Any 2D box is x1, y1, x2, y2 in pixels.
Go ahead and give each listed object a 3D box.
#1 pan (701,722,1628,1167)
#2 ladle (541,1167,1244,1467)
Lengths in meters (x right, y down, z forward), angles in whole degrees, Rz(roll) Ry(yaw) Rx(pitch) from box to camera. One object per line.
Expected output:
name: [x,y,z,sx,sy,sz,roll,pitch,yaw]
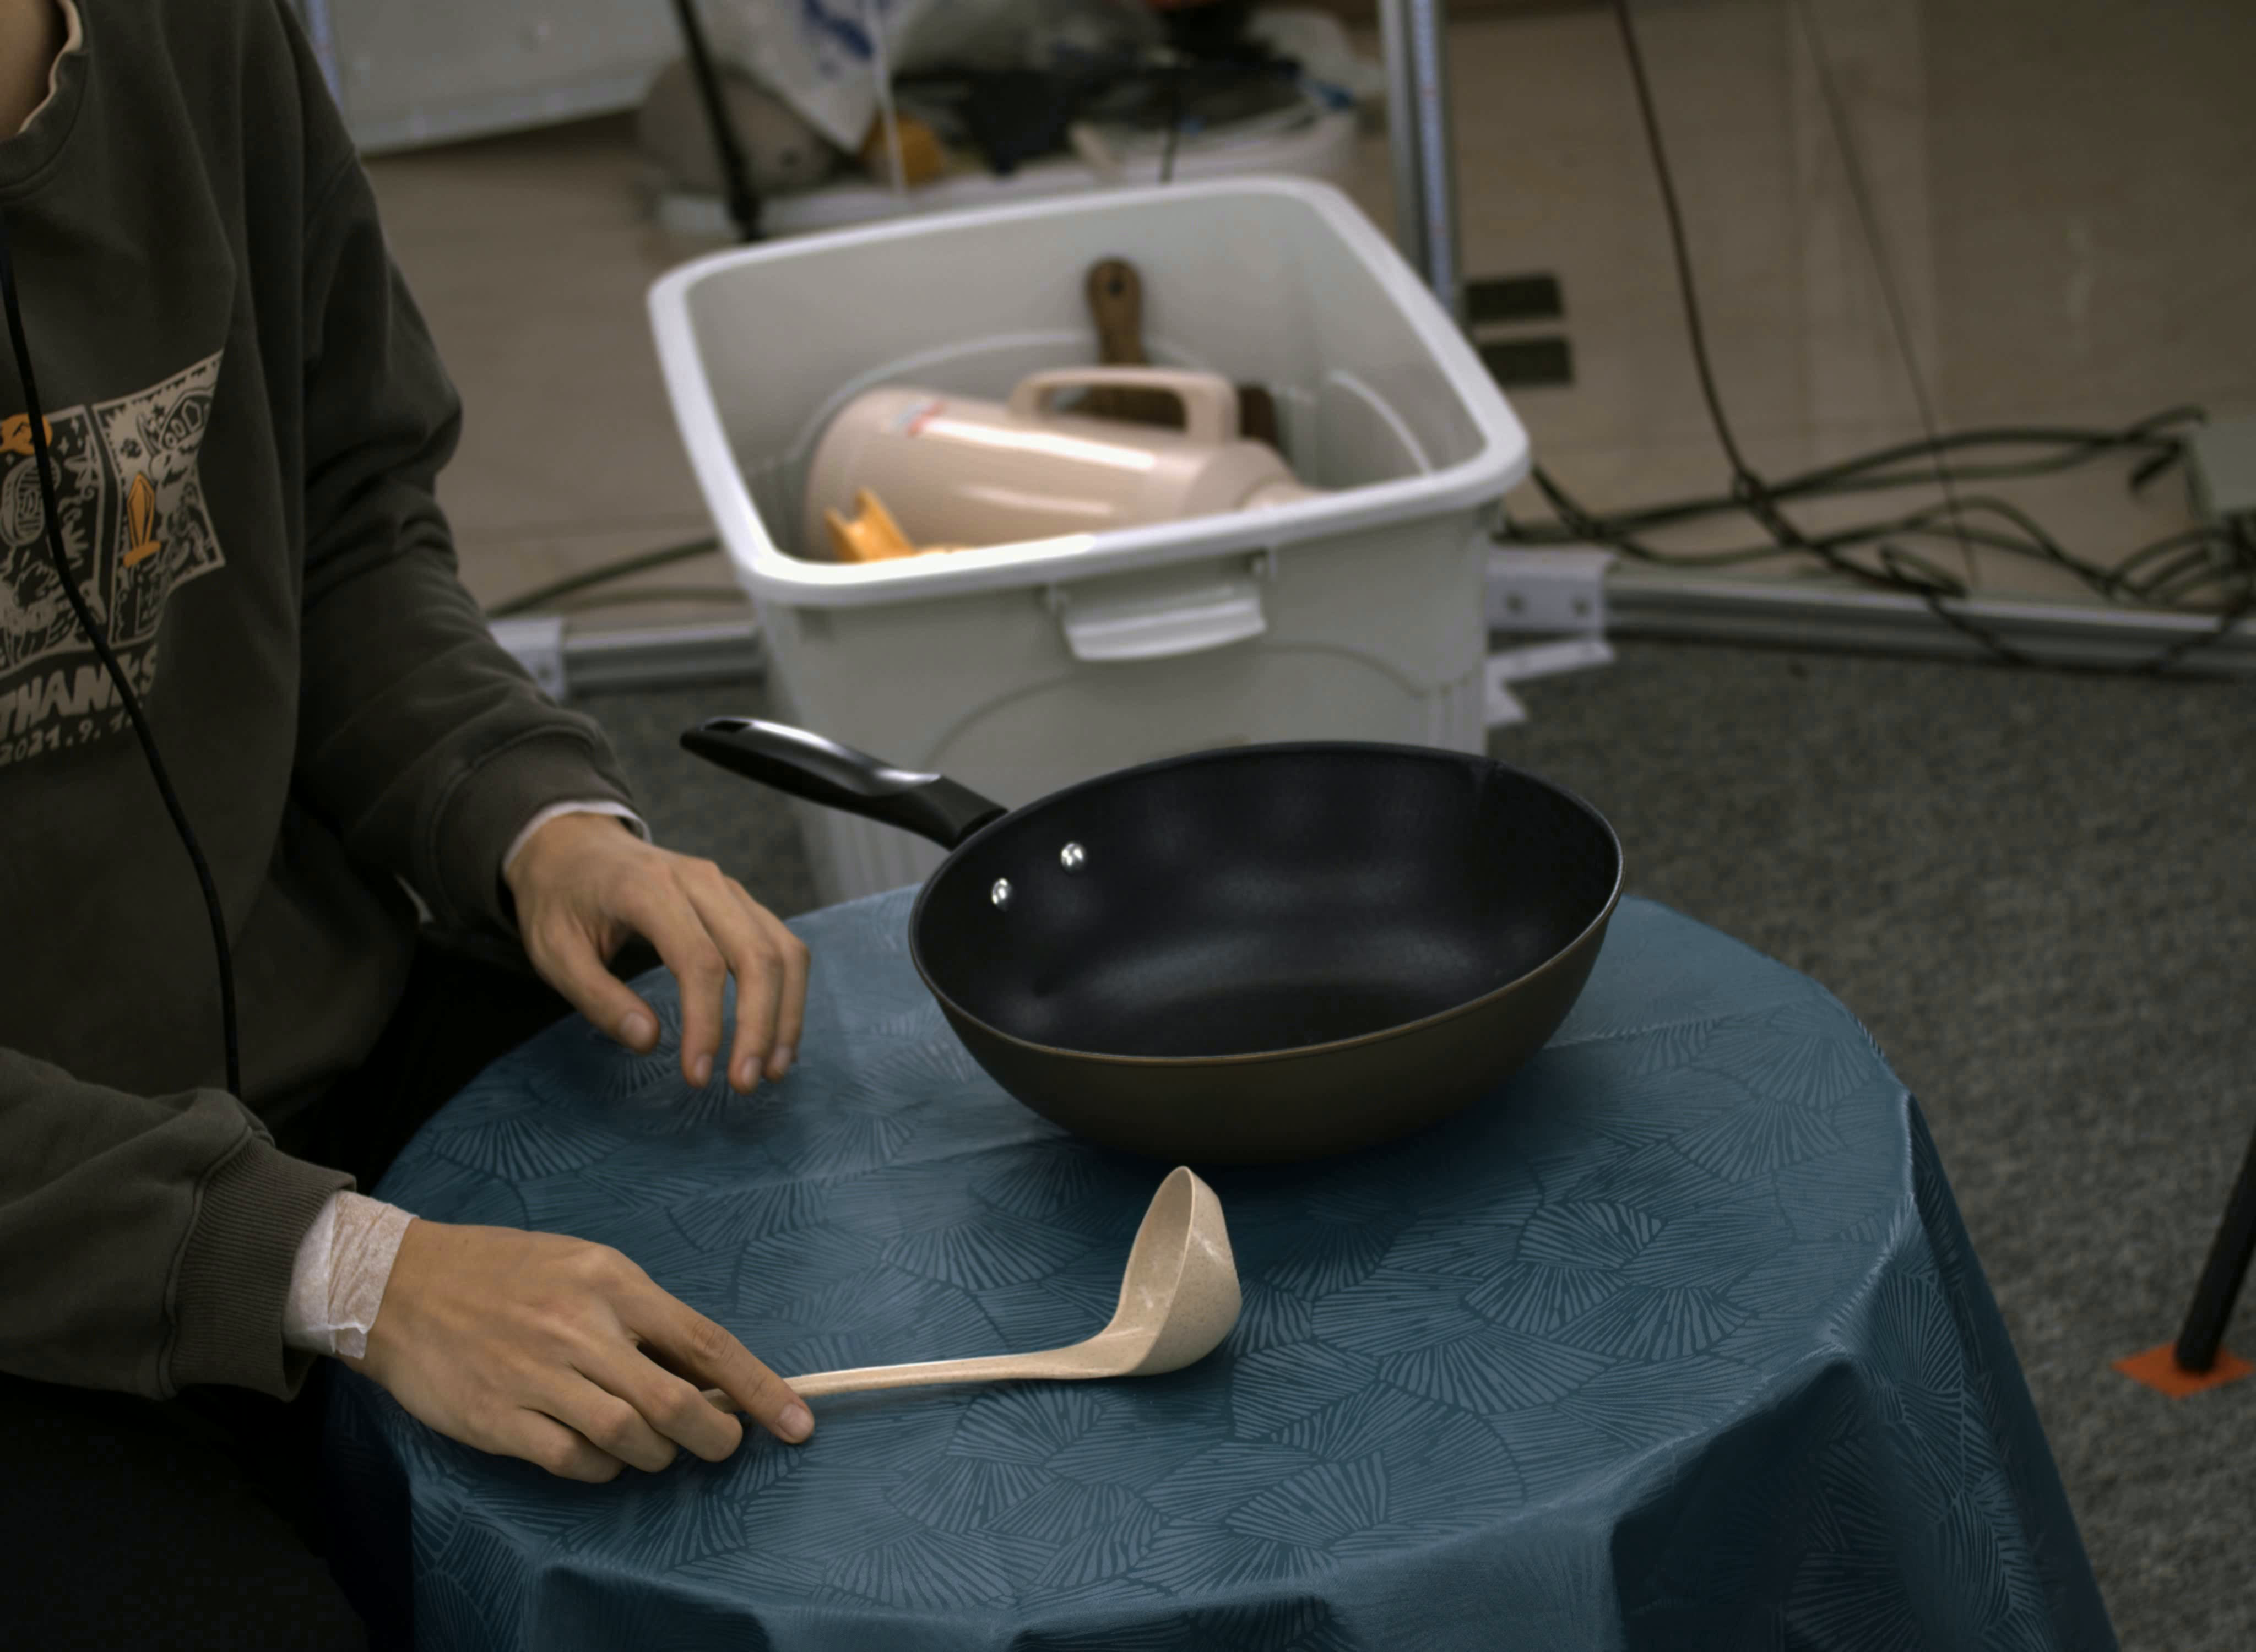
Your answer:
pan: [-0.009,0.041,2.260,0.460,0.088,0.285,16,33,41]
ladle: [-0.086,0.173,2.007,0.254,0.074,0.071,-8,27,-6]
